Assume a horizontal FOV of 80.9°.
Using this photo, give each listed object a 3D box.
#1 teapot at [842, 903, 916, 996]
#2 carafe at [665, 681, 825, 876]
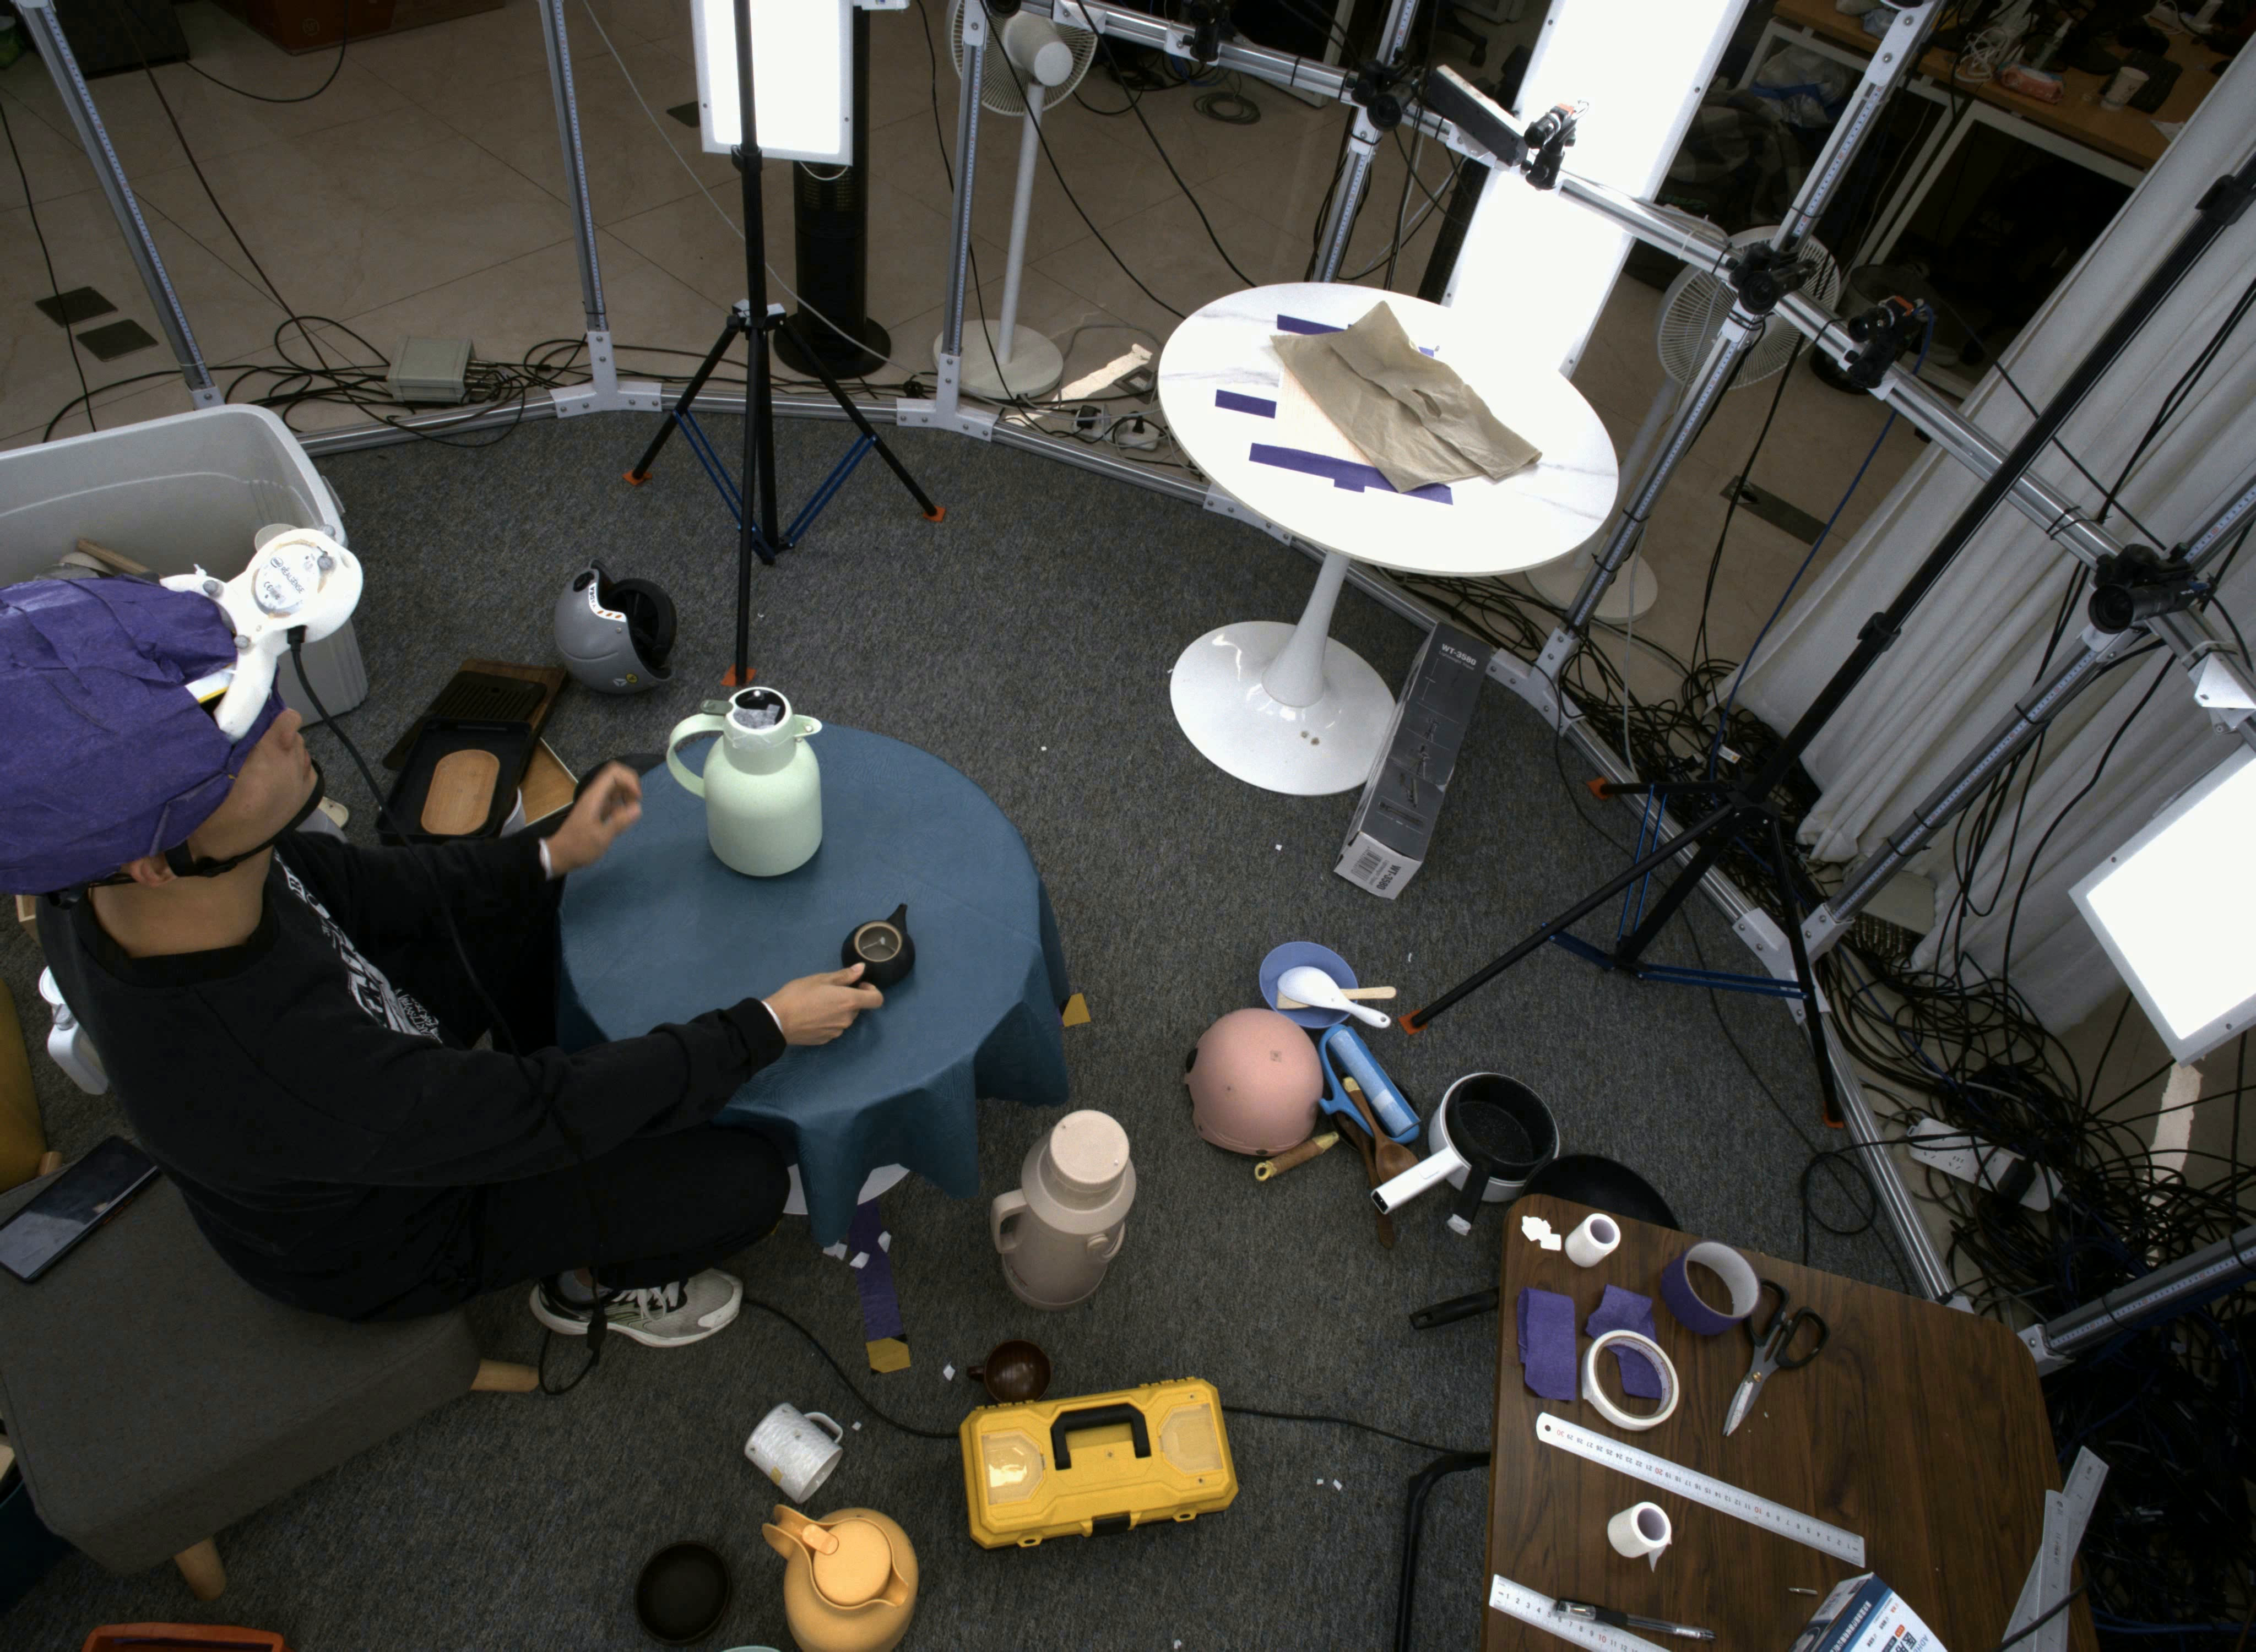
[{"bbox_3d":[-0.307,0.155,1.601,0.089,0.054,0.132,23,52,6],"label":"teapot"},{"bbox_3d":[-0.468,-0.065,1.597,0.186,0.263,0.141,-1,54,-9],"label":"carafe"}]
